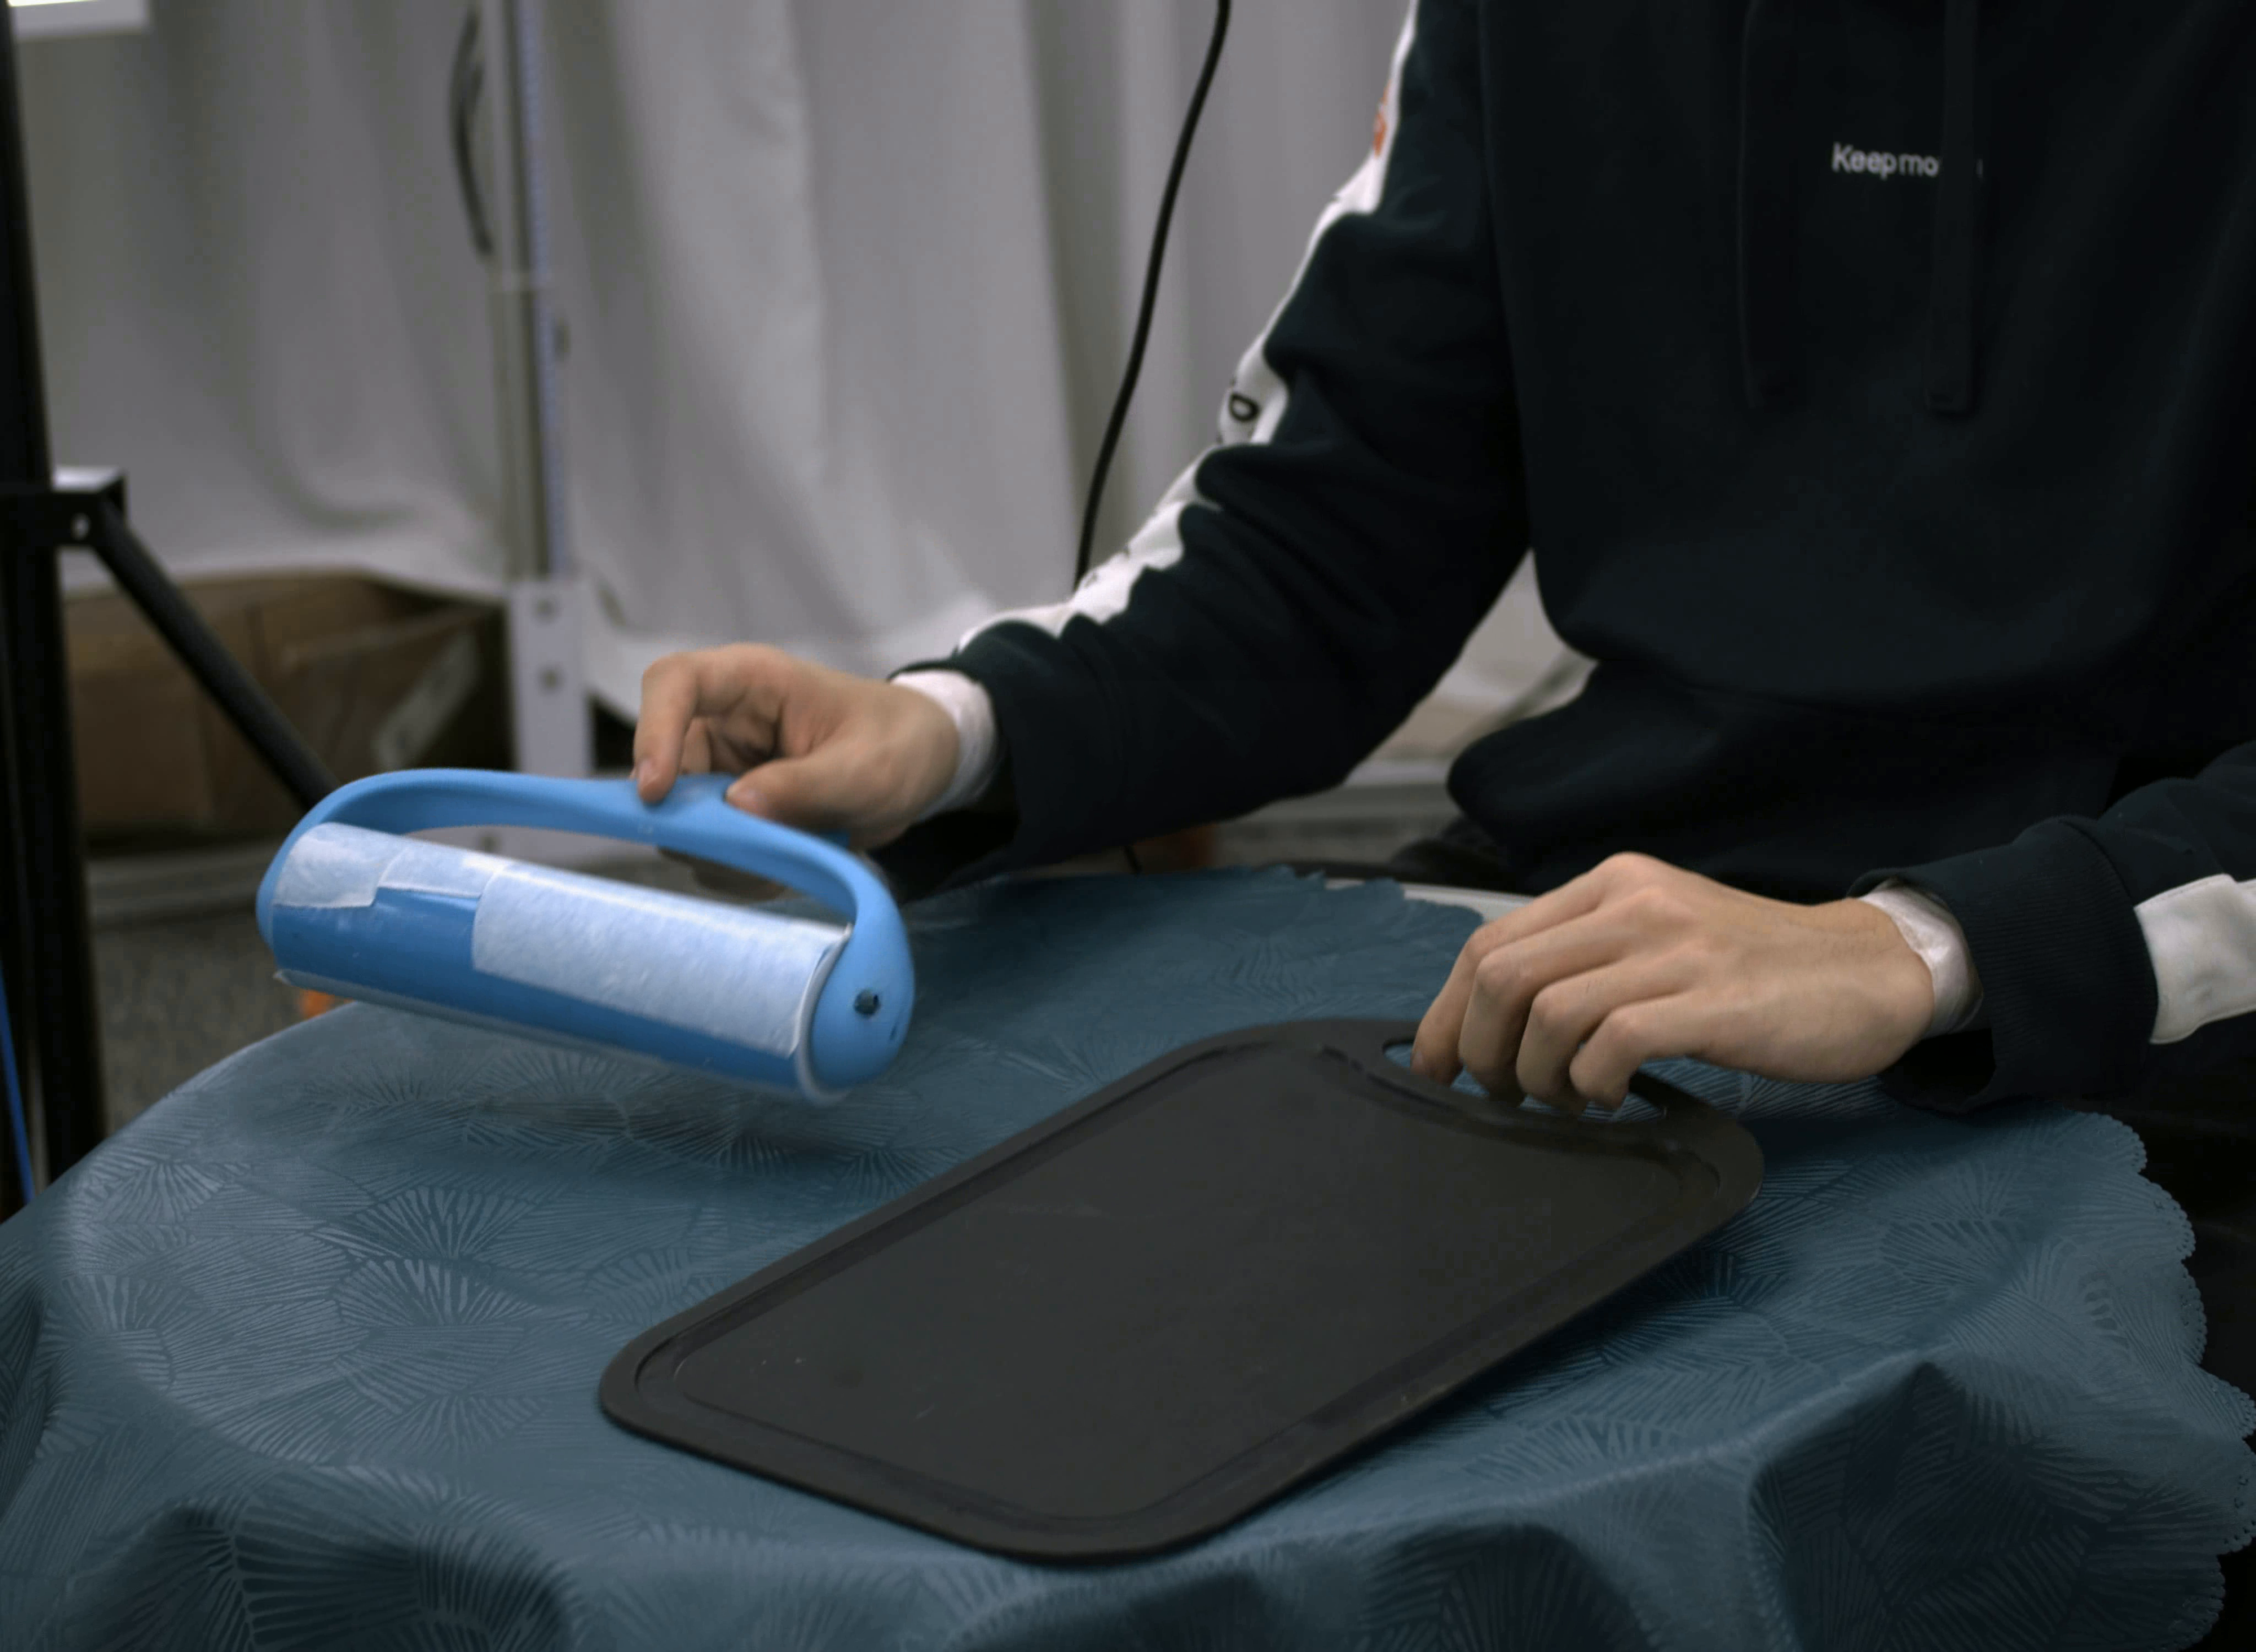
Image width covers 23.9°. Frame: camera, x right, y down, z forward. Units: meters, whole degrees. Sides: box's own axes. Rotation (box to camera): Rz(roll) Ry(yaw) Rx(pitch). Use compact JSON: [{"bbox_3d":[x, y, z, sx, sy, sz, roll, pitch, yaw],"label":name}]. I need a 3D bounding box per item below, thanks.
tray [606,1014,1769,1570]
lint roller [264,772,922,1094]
[{"bbox_3d":[0.025,0.116,1.458,0.216,0.010,0.319,13,28,42],"label":"tray"},{"bbox_3d":[-0.143,0.015,1.687,0.232,0.067,0.178,7,27,26],"label":"lint roller"}]
